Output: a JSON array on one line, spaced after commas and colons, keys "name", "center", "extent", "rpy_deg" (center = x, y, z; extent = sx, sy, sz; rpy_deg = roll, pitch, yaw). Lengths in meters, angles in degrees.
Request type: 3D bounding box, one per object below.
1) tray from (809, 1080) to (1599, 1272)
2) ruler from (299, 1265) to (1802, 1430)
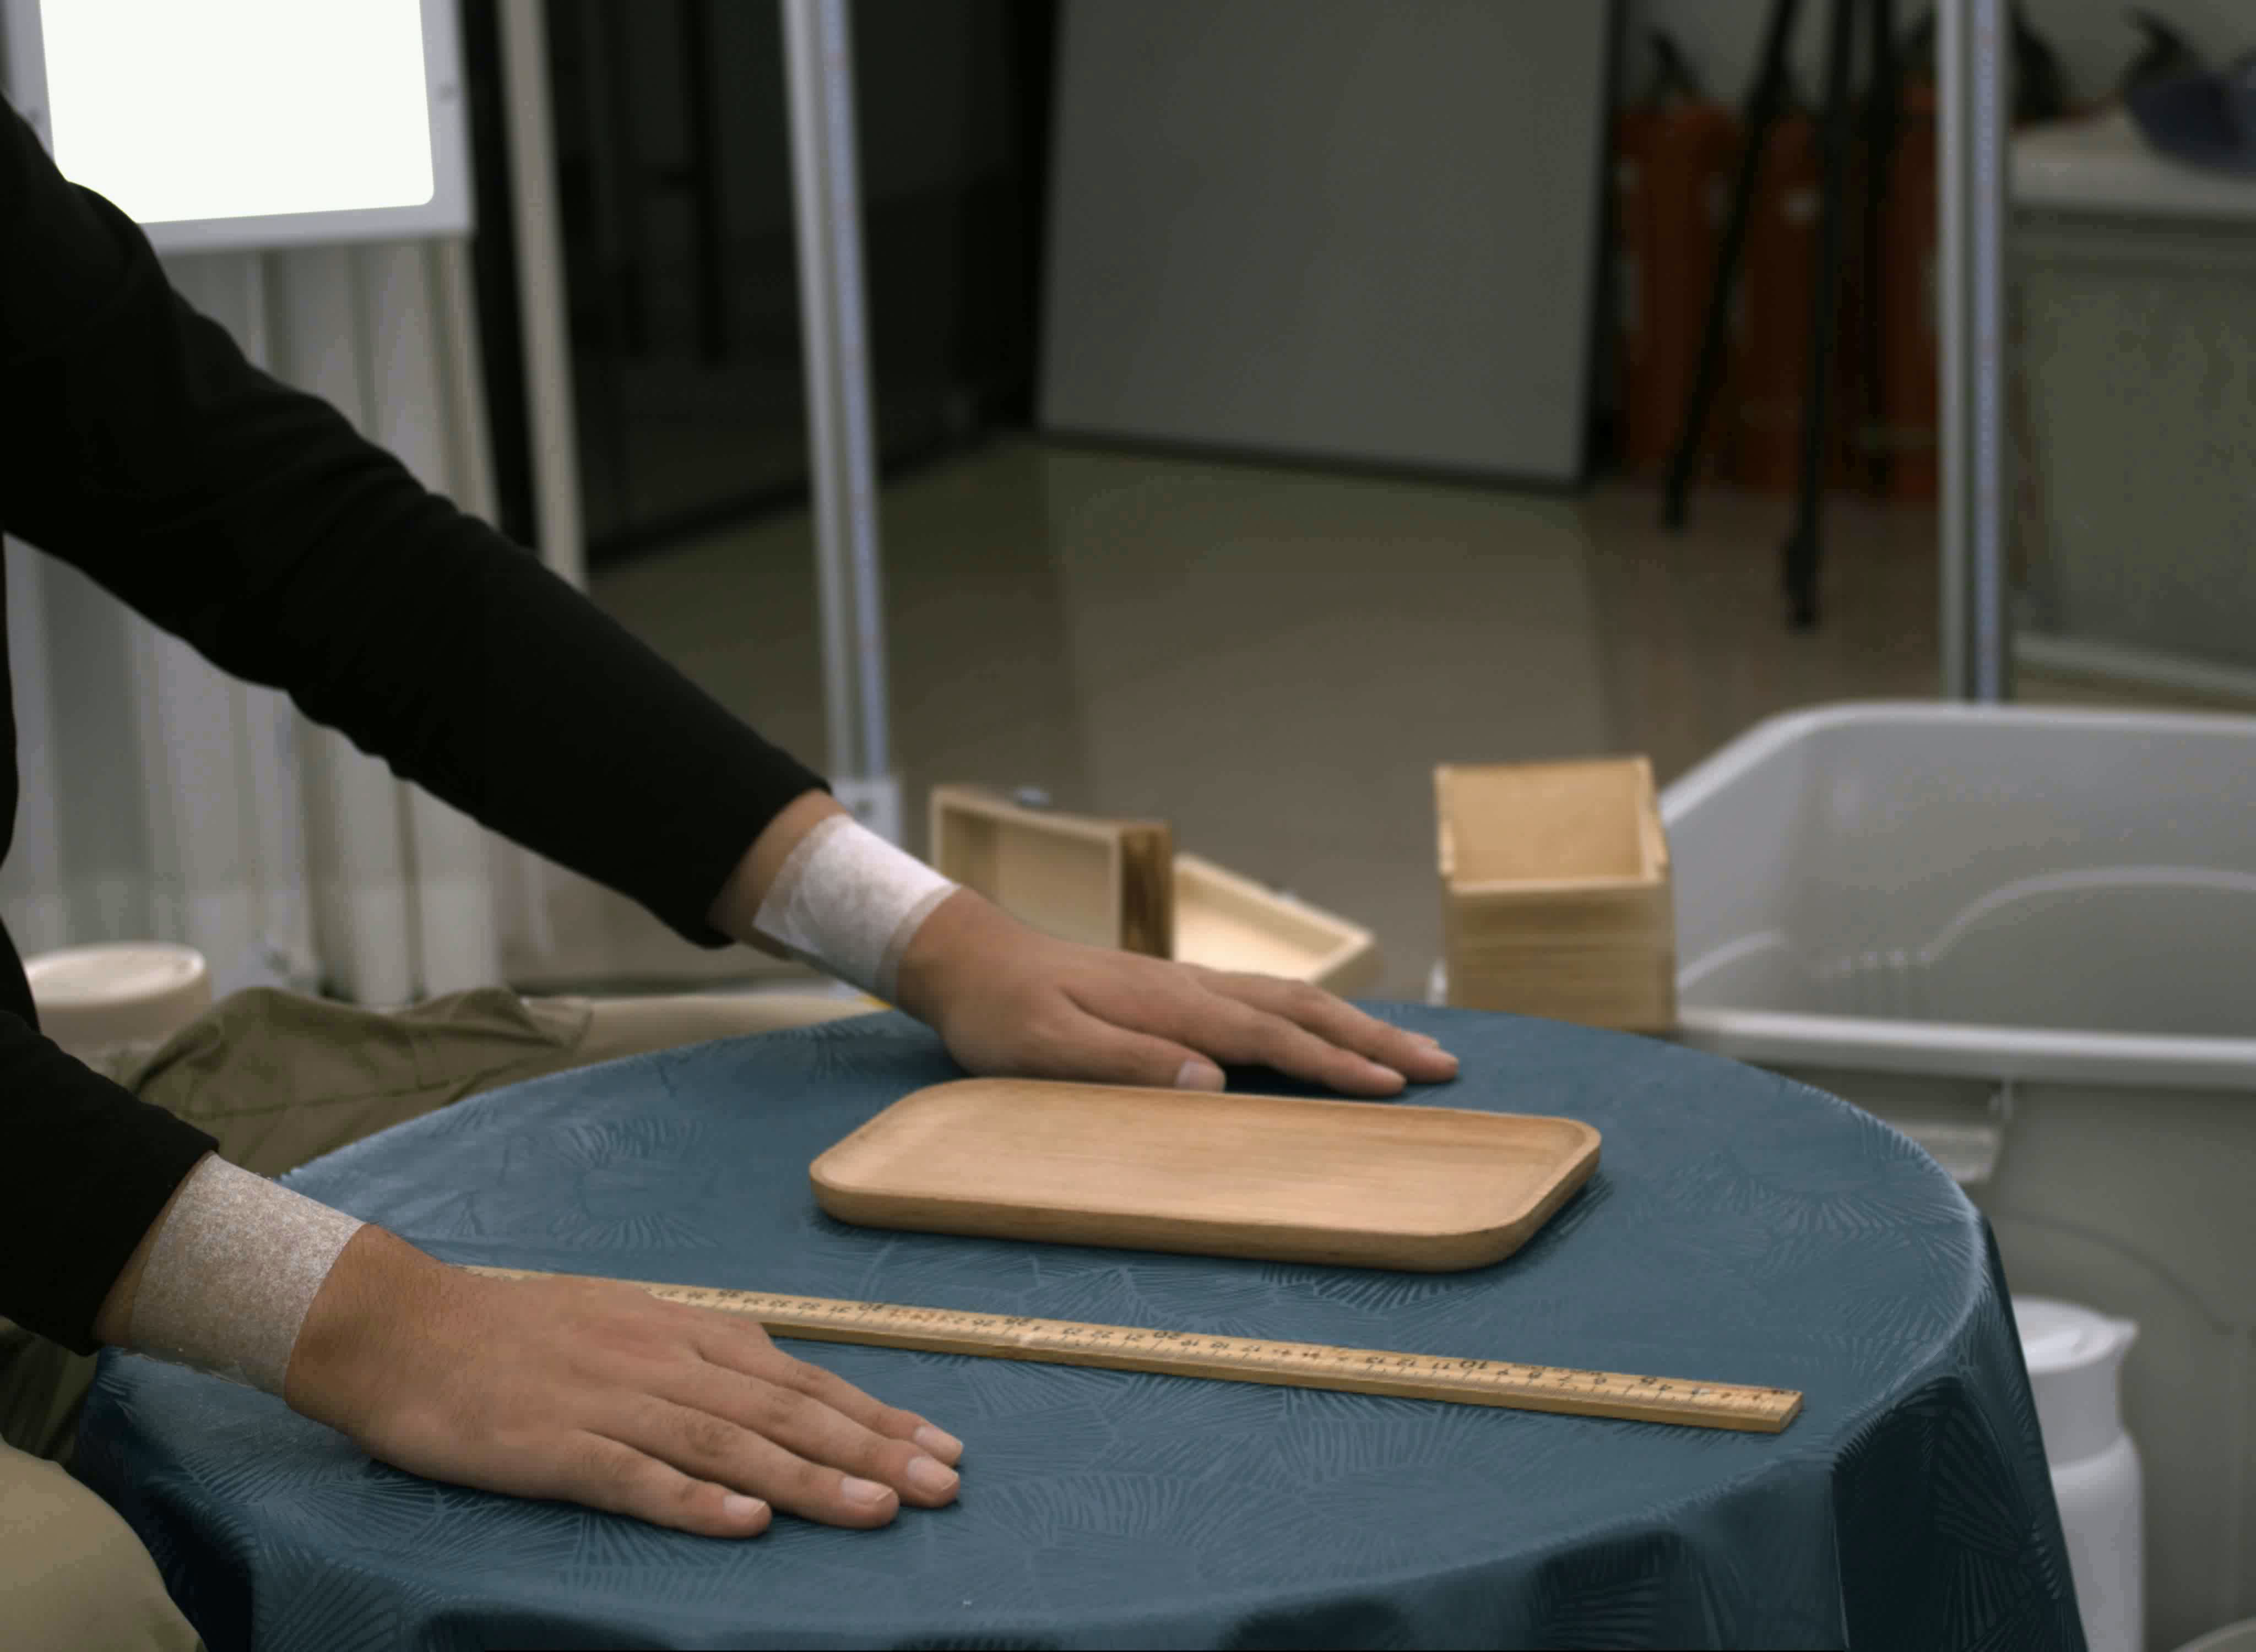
[{"name": "tray", "center": [0.025, 0.113, 1.760], "extent": [0.251, 0.023, 0.129], "rpy_deg": [1, 13, 26]}, {"name": "ruler", "center": [-0.036, 0.155, 1.631], "extent": [0.501, 0.006, 0.026], "rpy_deg": [2, 12, 26]}]
